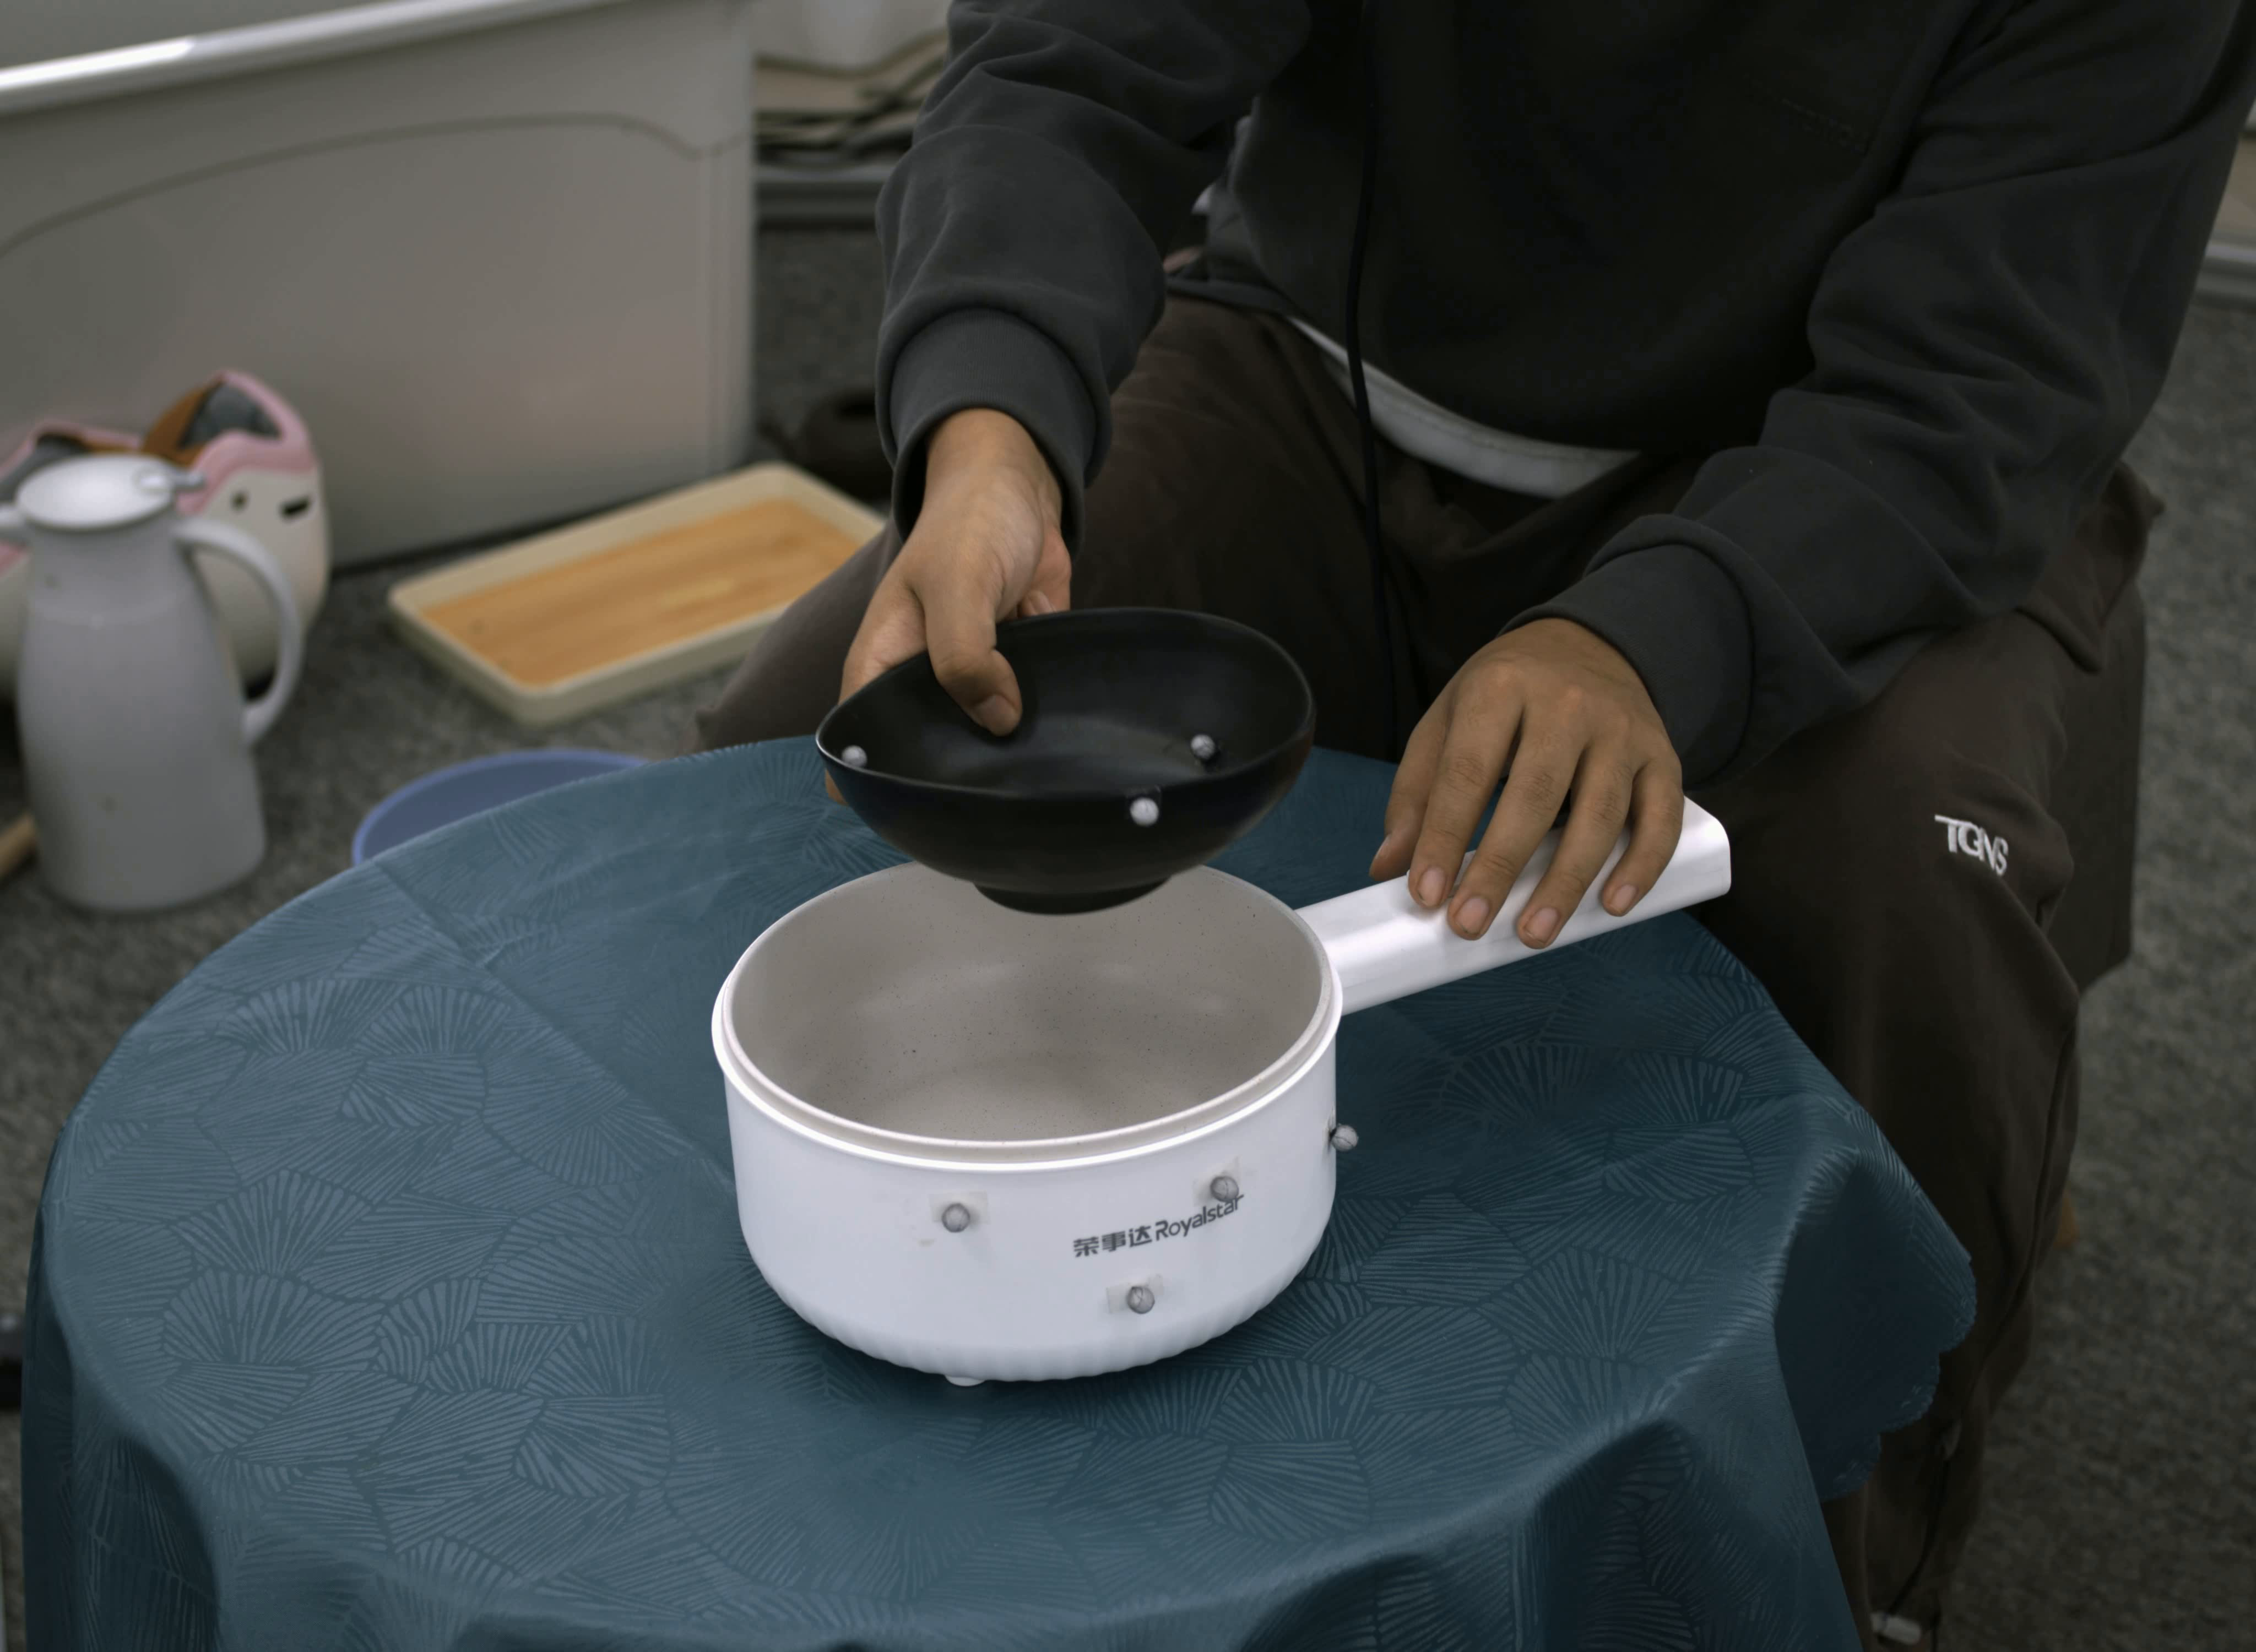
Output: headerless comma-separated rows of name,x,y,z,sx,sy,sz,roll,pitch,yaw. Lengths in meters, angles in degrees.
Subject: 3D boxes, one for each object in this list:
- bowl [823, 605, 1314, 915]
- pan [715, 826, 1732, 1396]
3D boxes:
bowl,-0.018,-0.014,1.810,0.169,0.066,0.139,5,28,26
pan,0.038,0.085,1.843,0.356,0.101,0.202,-14,25,-25
